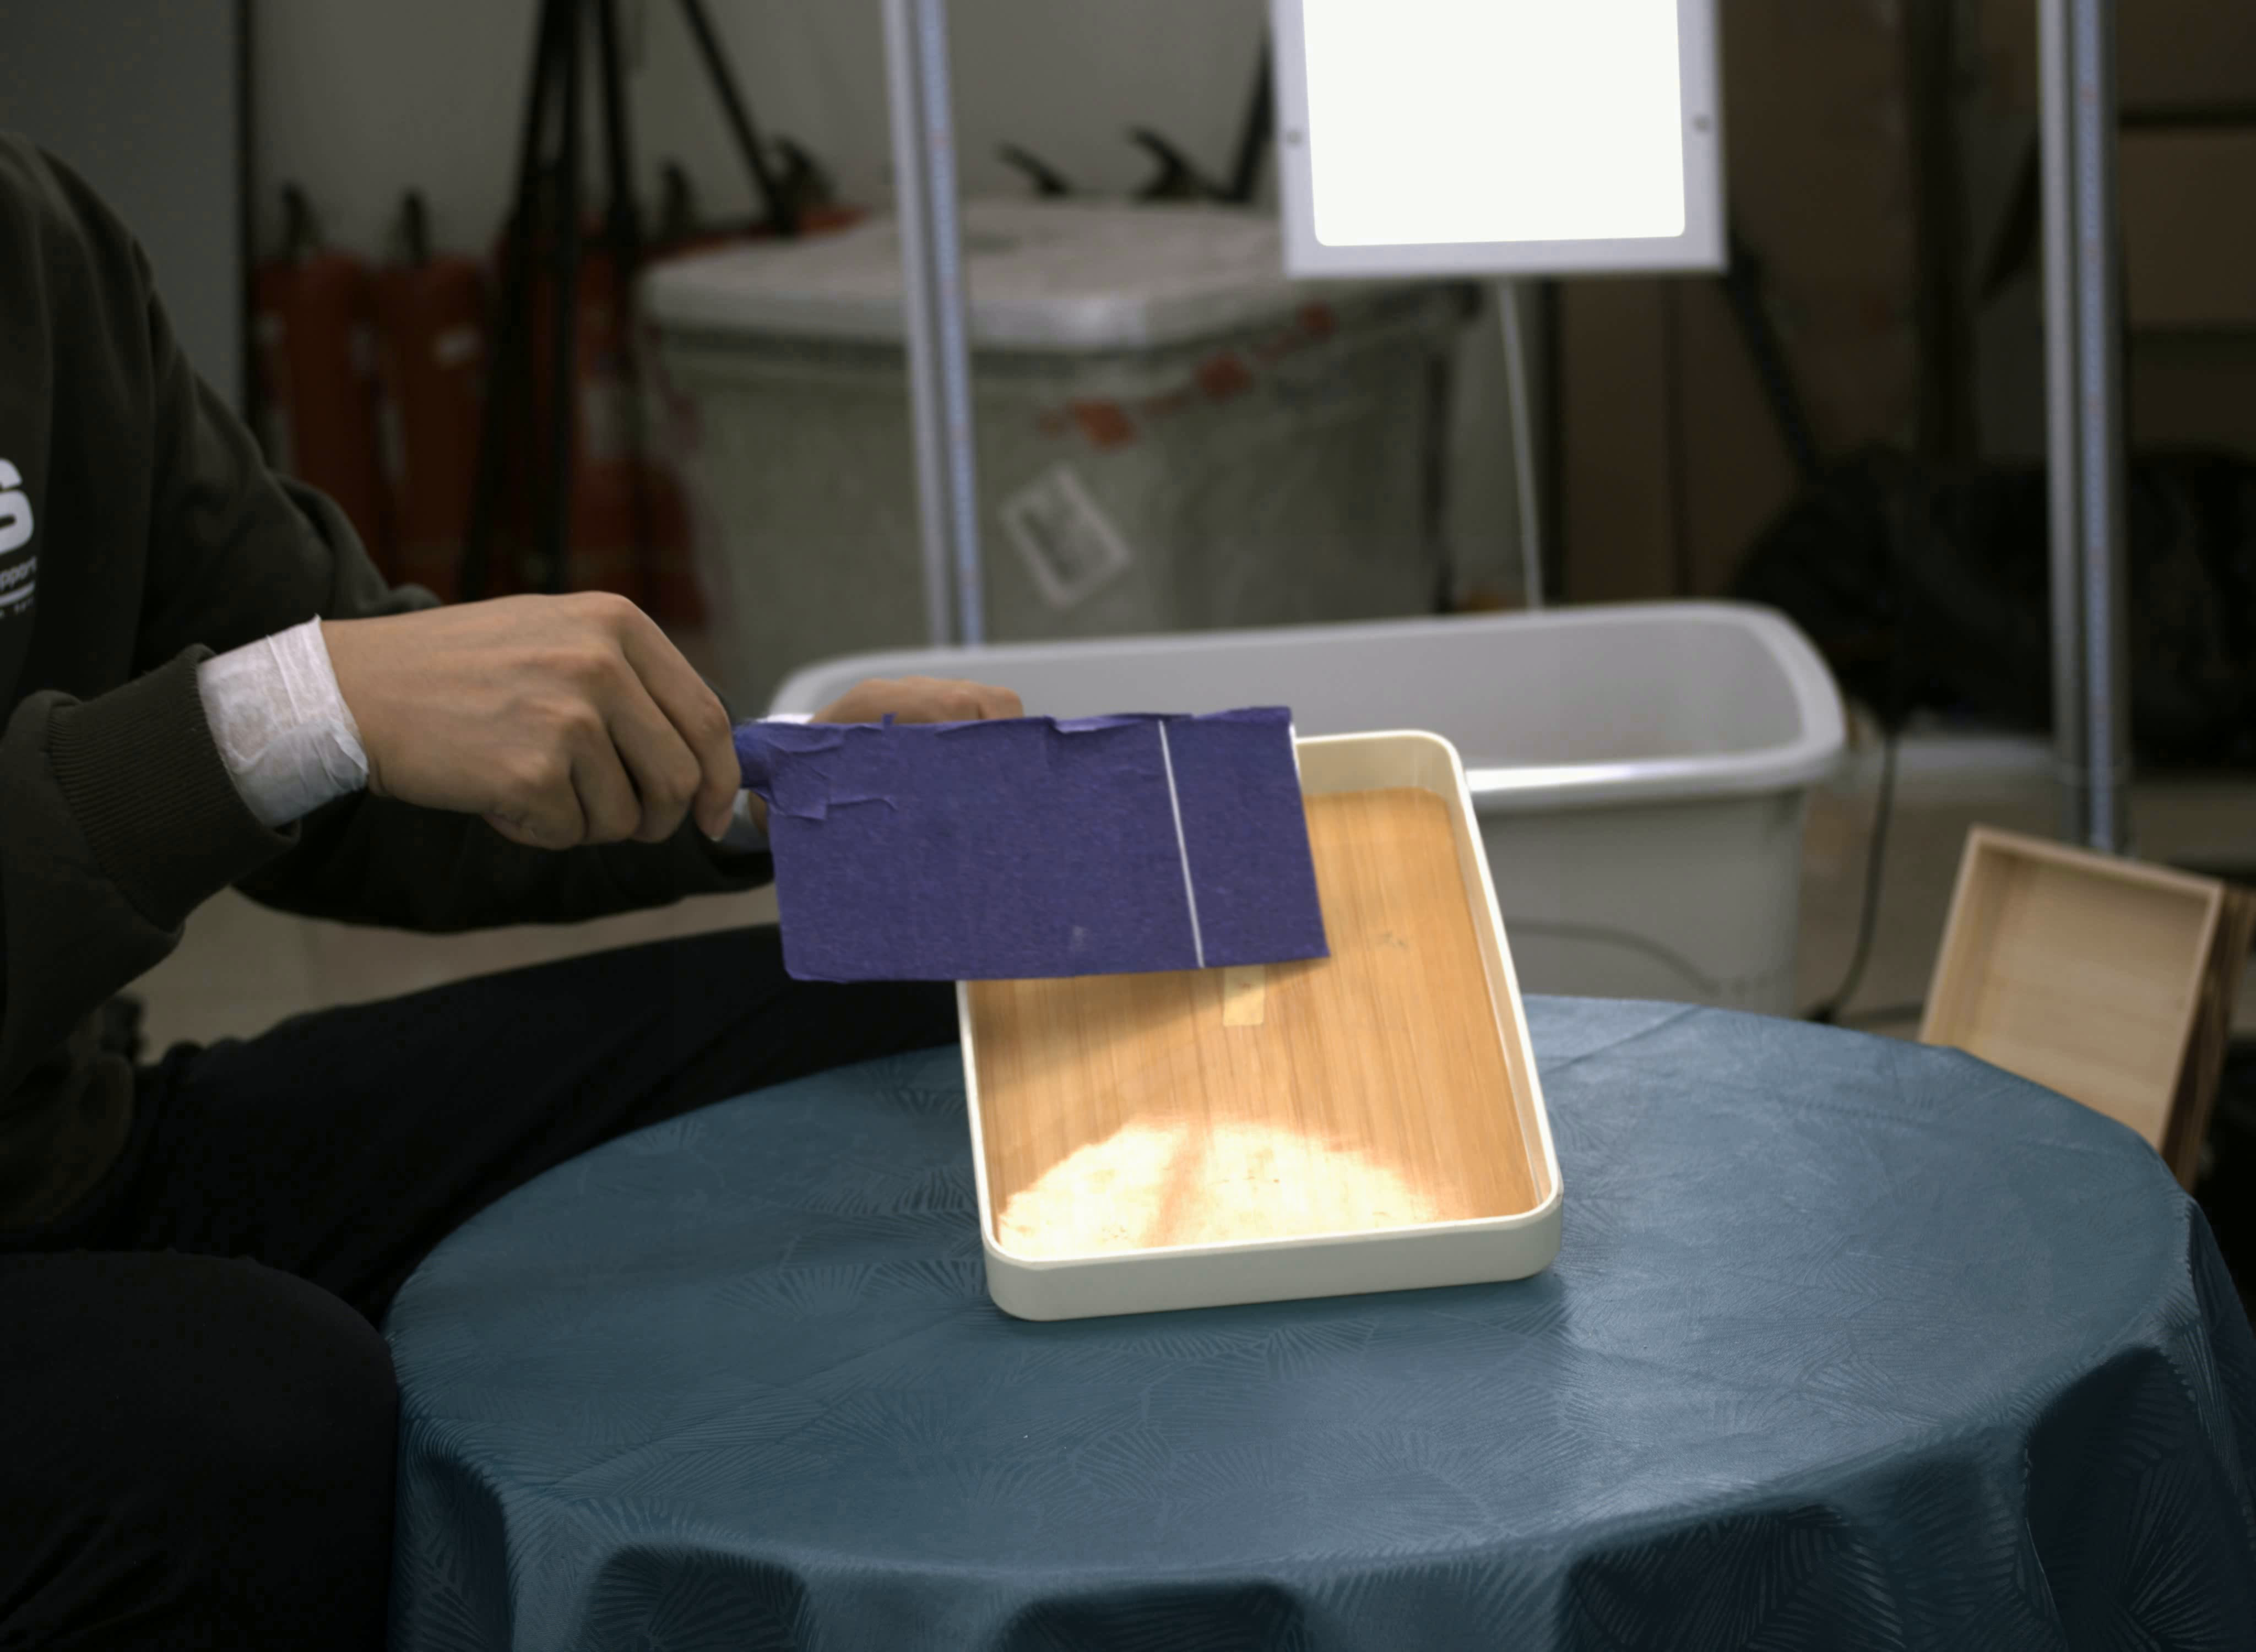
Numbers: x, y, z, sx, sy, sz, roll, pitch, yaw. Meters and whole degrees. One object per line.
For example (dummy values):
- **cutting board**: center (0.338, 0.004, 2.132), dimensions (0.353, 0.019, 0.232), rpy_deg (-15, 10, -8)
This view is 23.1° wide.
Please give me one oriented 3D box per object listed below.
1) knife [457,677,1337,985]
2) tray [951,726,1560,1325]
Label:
- **knife**: center (-0.070, 0.005, 1.863), dimensions (0.309, 0.104, 0.033), rpy_deg (-4, -13, -22)
- **tray**: center (0.036, 0.063, 1.892), dimensions (0.191, 0.027, 0.300), rpy_deg (-6, 34, 0)
